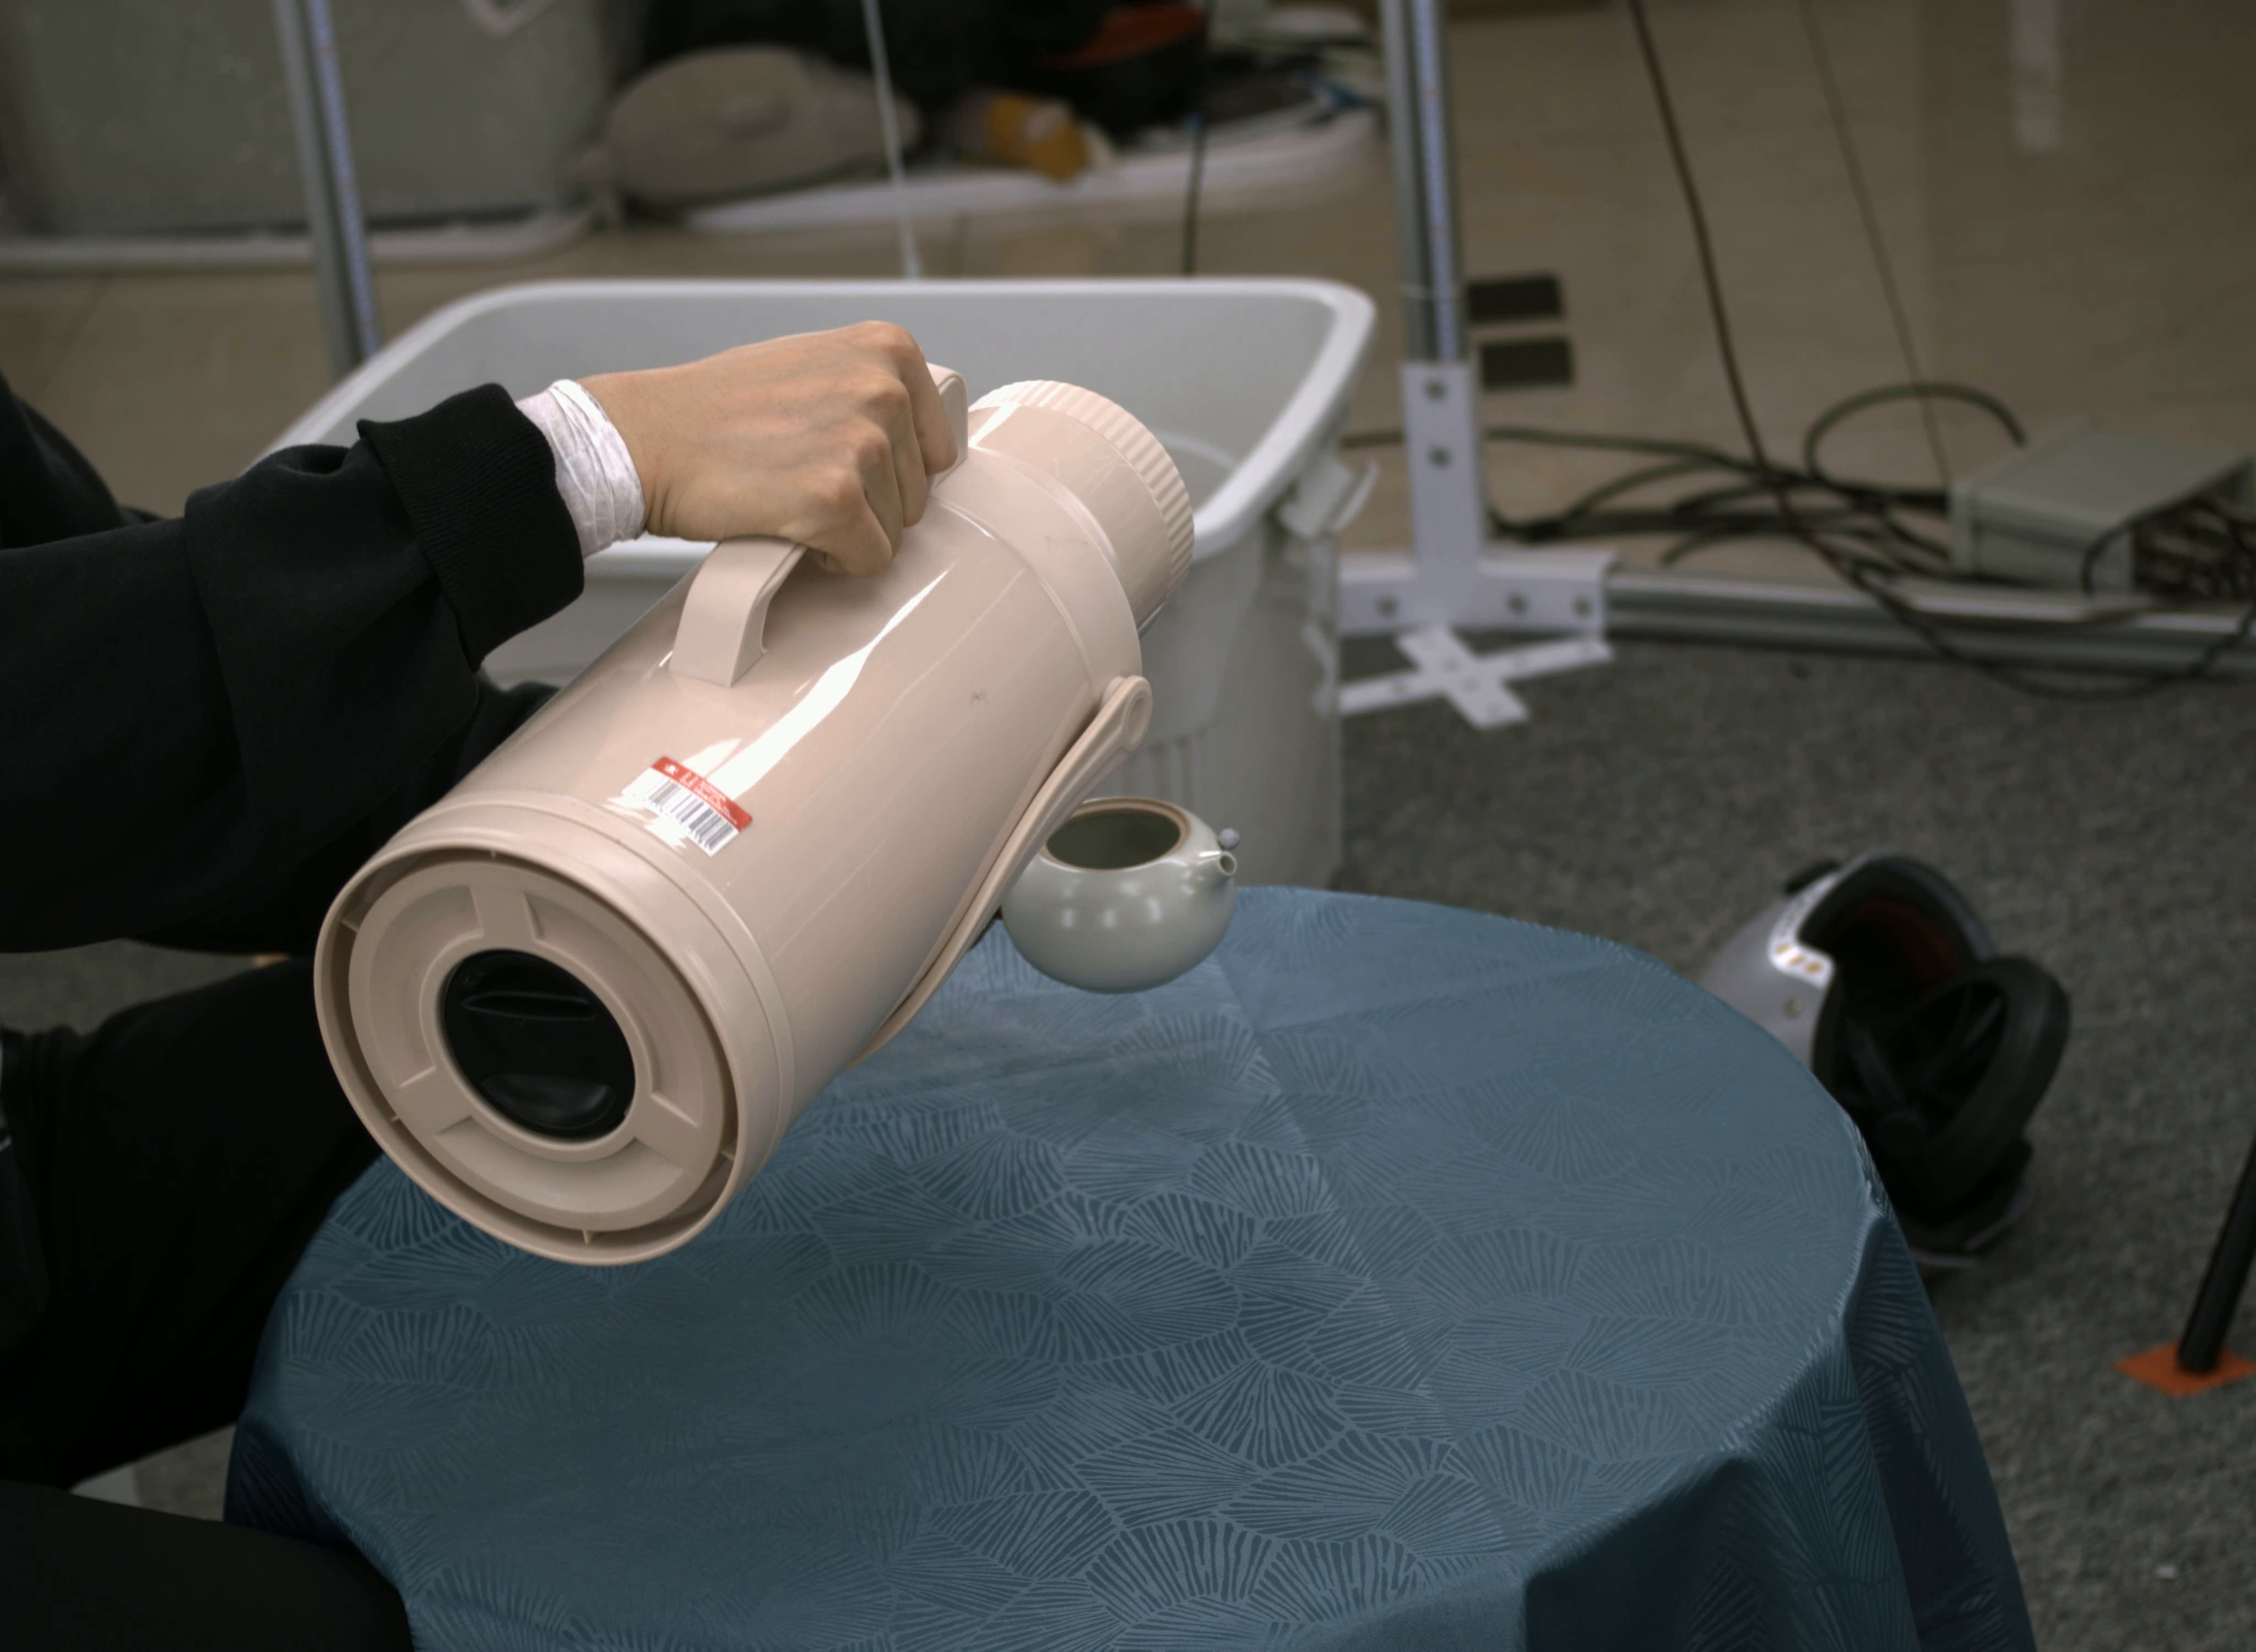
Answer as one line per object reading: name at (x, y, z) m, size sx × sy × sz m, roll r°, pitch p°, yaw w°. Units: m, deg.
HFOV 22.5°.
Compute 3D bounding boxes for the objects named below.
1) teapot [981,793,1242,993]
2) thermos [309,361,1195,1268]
teapot at (-0.011, 0.024, 2.208) m, size 0.127 × 0.060 × 0.090 m, roll 12°, pitch 36°, yaw 27°
thermos at (-0.110, -0.033, 1.945) m, size 0.174 × 0.211 × 0.401 m, roll 18°, pitch 38°, yaw 21°
